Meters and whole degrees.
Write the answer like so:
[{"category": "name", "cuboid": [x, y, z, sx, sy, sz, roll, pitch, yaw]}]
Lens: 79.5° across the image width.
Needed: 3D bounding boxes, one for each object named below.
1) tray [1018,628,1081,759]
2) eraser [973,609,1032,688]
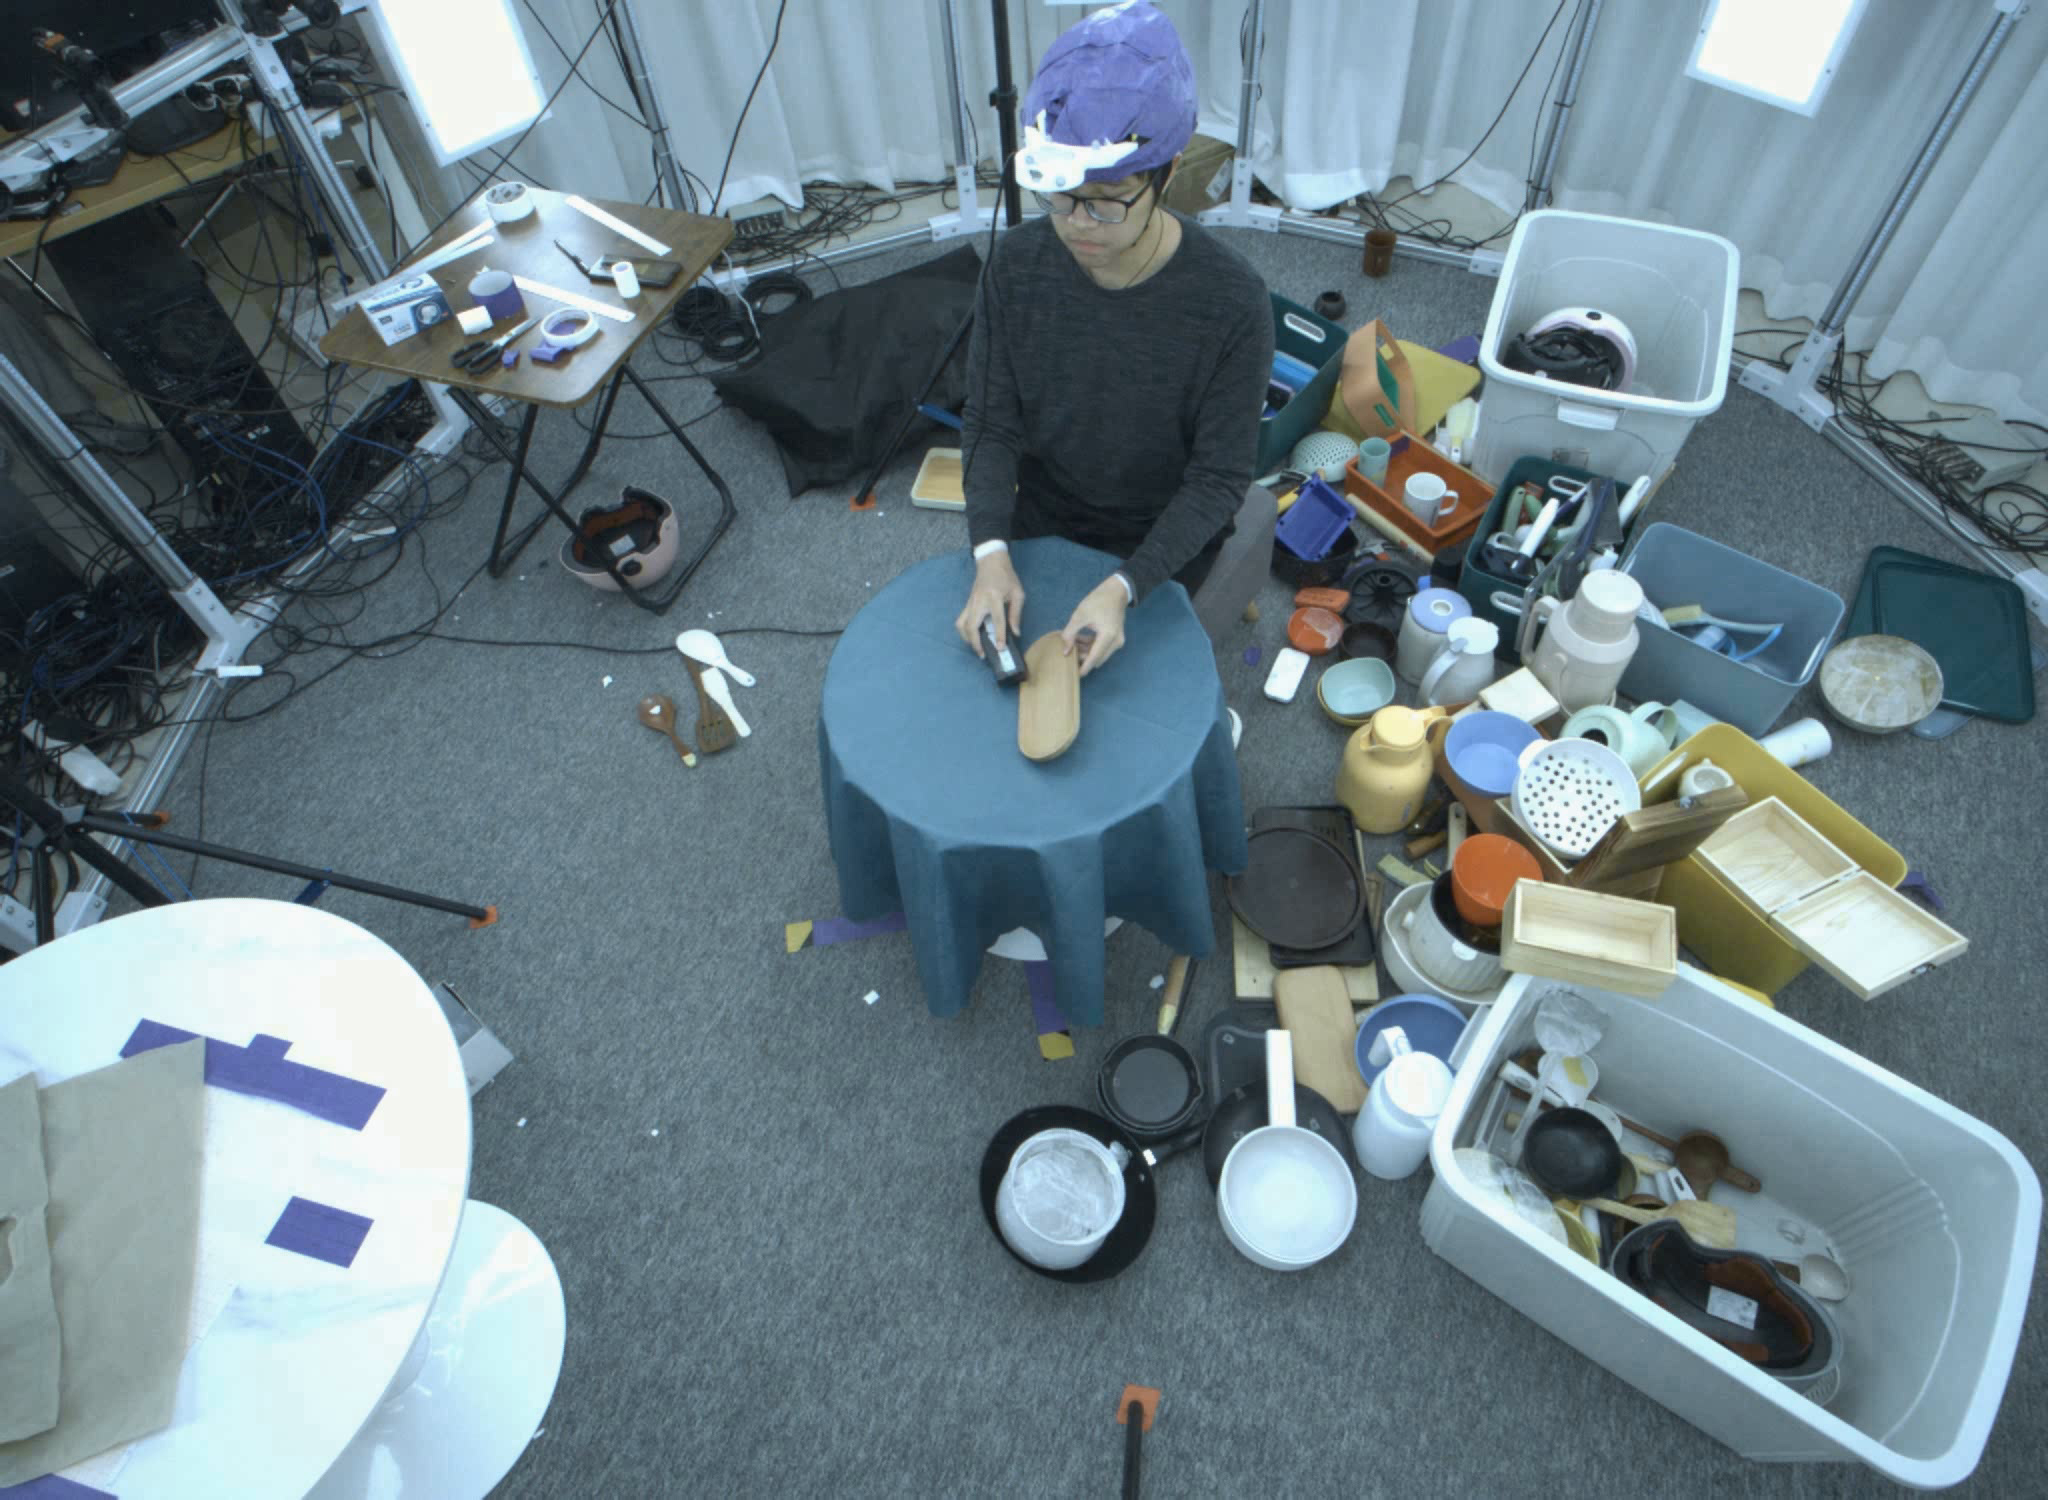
[{"category": "tray", "cuboid": [0.038, -0.085, 1.810, 0.100, 0.021, 0.229, -20, 49, 25]}, {"category": "eraser", "cuboid": [-0.032, -0.154, 1.861, 0.053, 0.031, 0.123, -22, 62, -4]}]
